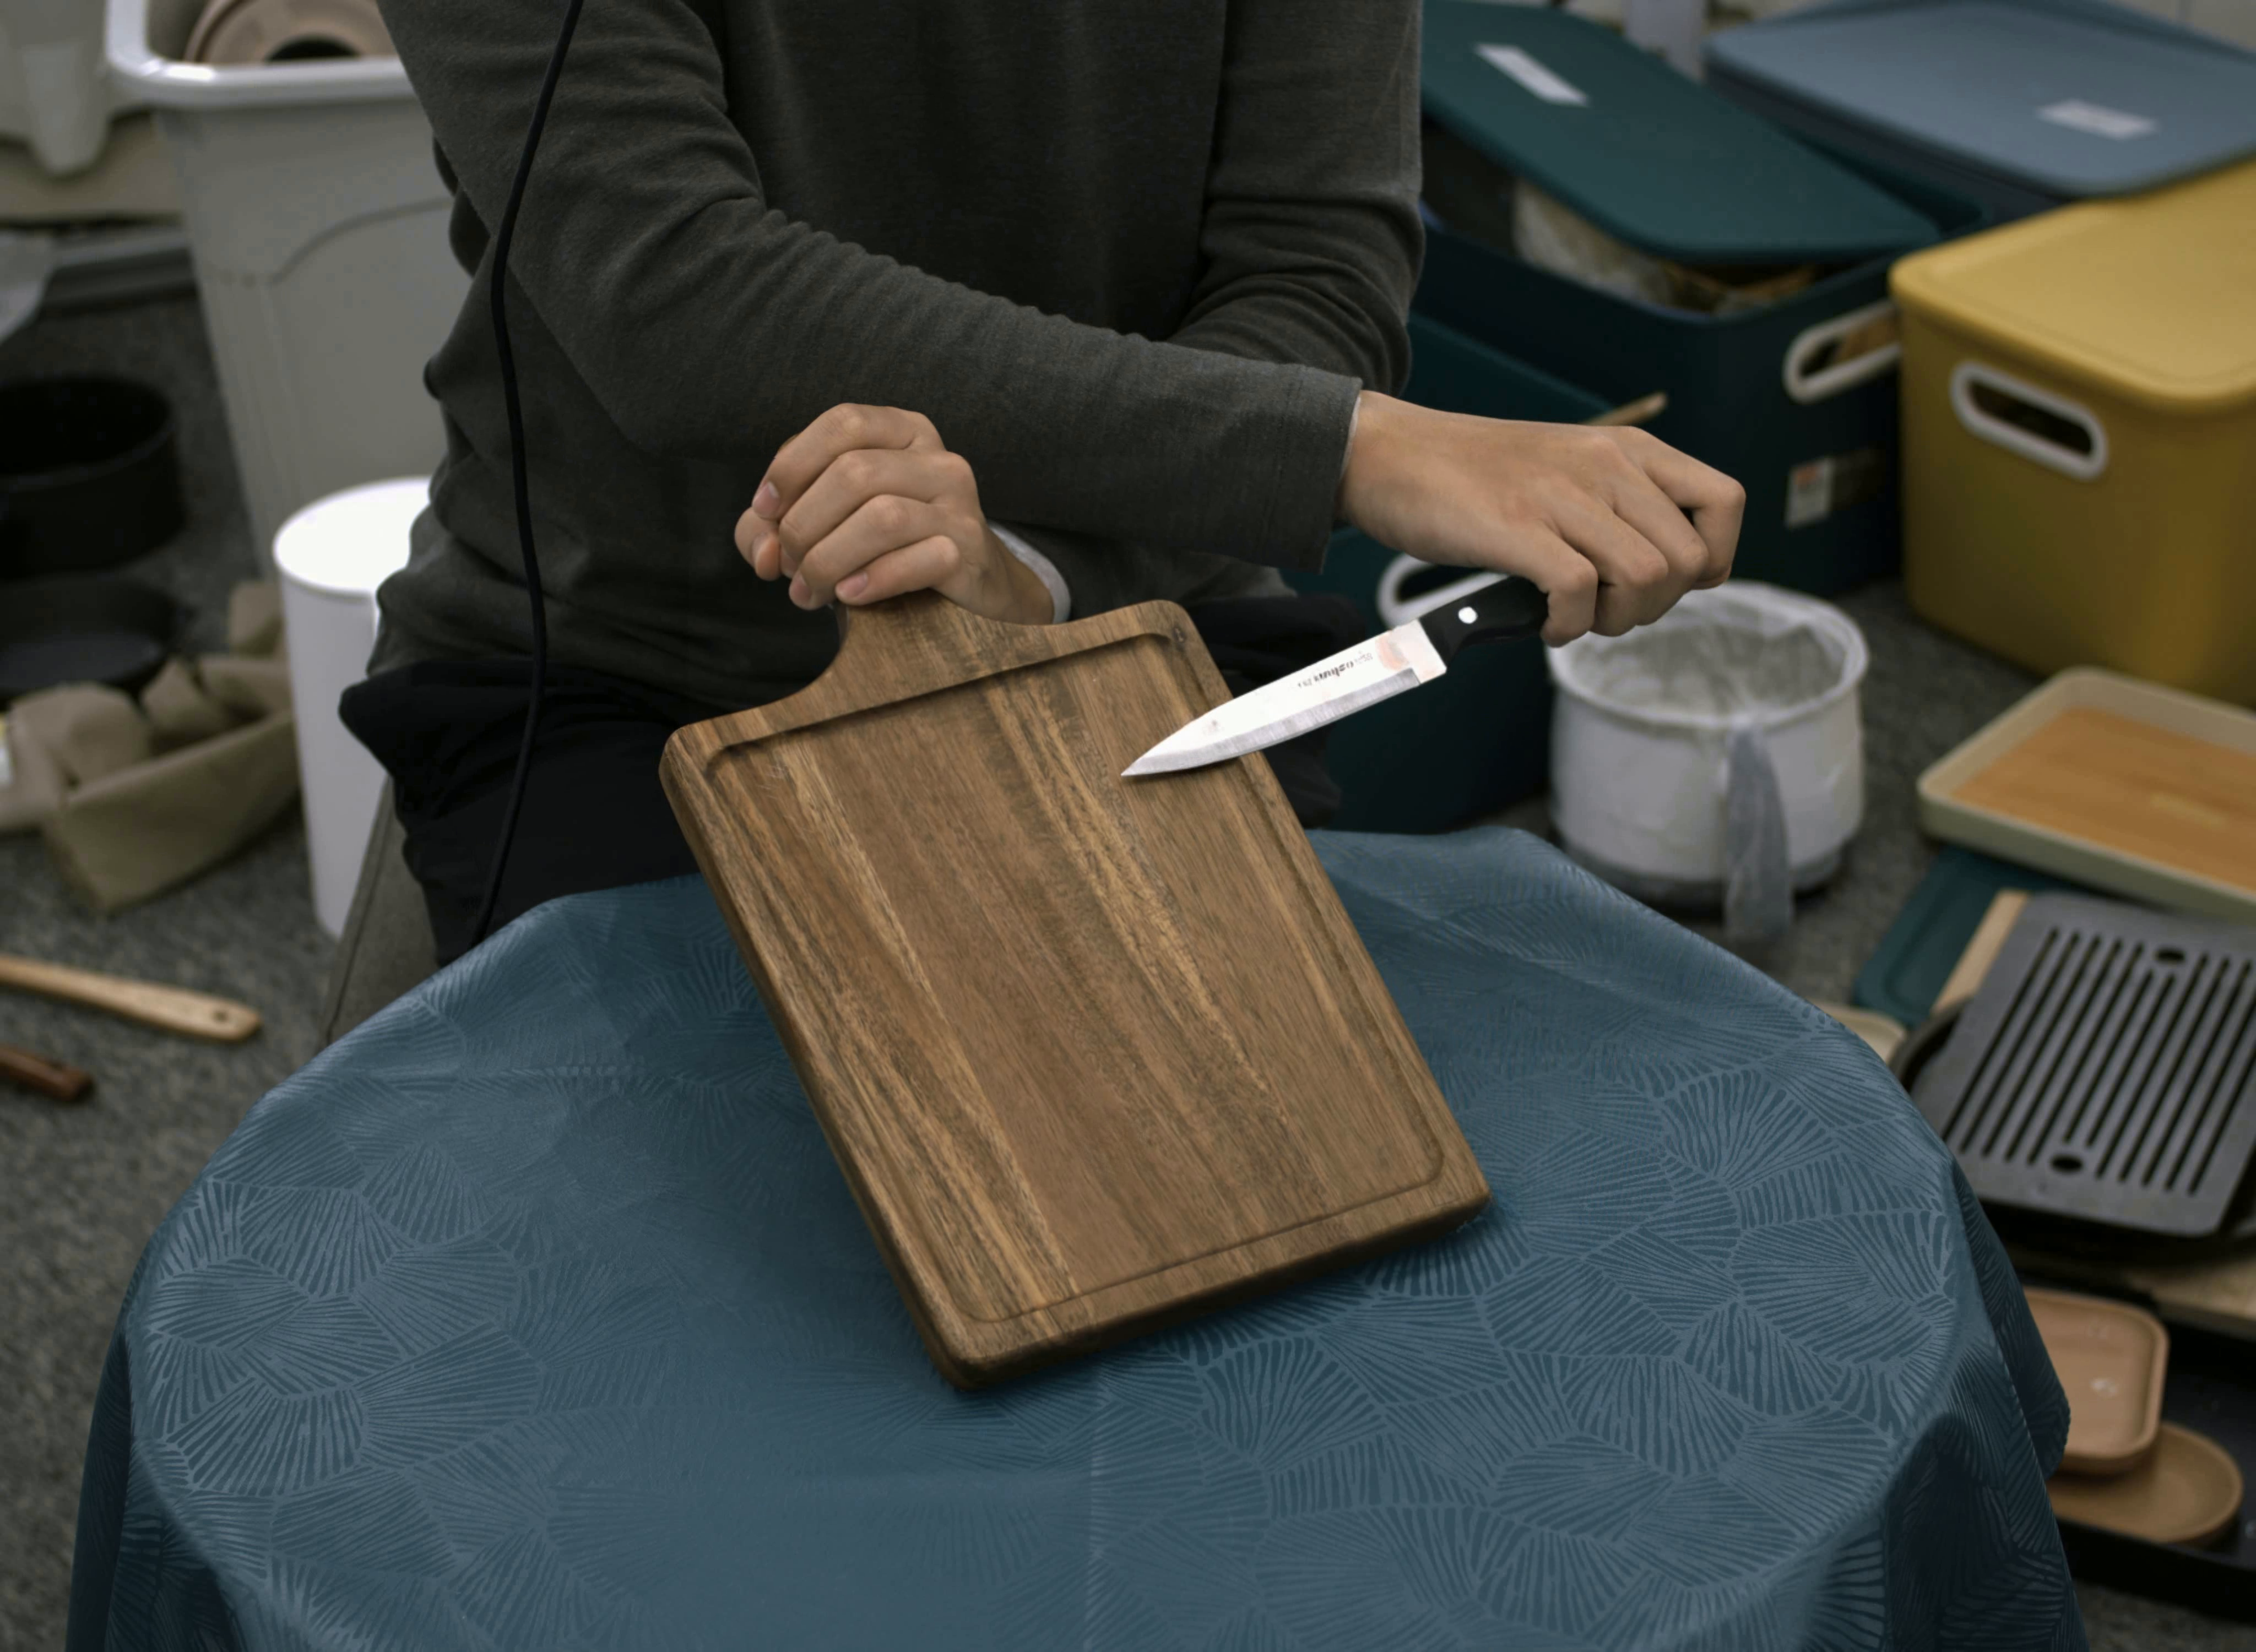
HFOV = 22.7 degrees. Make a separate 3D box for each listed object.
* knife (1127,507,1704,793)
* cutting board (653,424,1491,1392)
[{"bbox_3d":[0.098,-0.060,1.929,0.240,0.016,0.024,-25,69,-24],"label":"knife"},{"bbox_3d":[-0.040,0.008,1.865,0.202,0.023,0.356,-15,62,-24],"label":"cutting board"}]
